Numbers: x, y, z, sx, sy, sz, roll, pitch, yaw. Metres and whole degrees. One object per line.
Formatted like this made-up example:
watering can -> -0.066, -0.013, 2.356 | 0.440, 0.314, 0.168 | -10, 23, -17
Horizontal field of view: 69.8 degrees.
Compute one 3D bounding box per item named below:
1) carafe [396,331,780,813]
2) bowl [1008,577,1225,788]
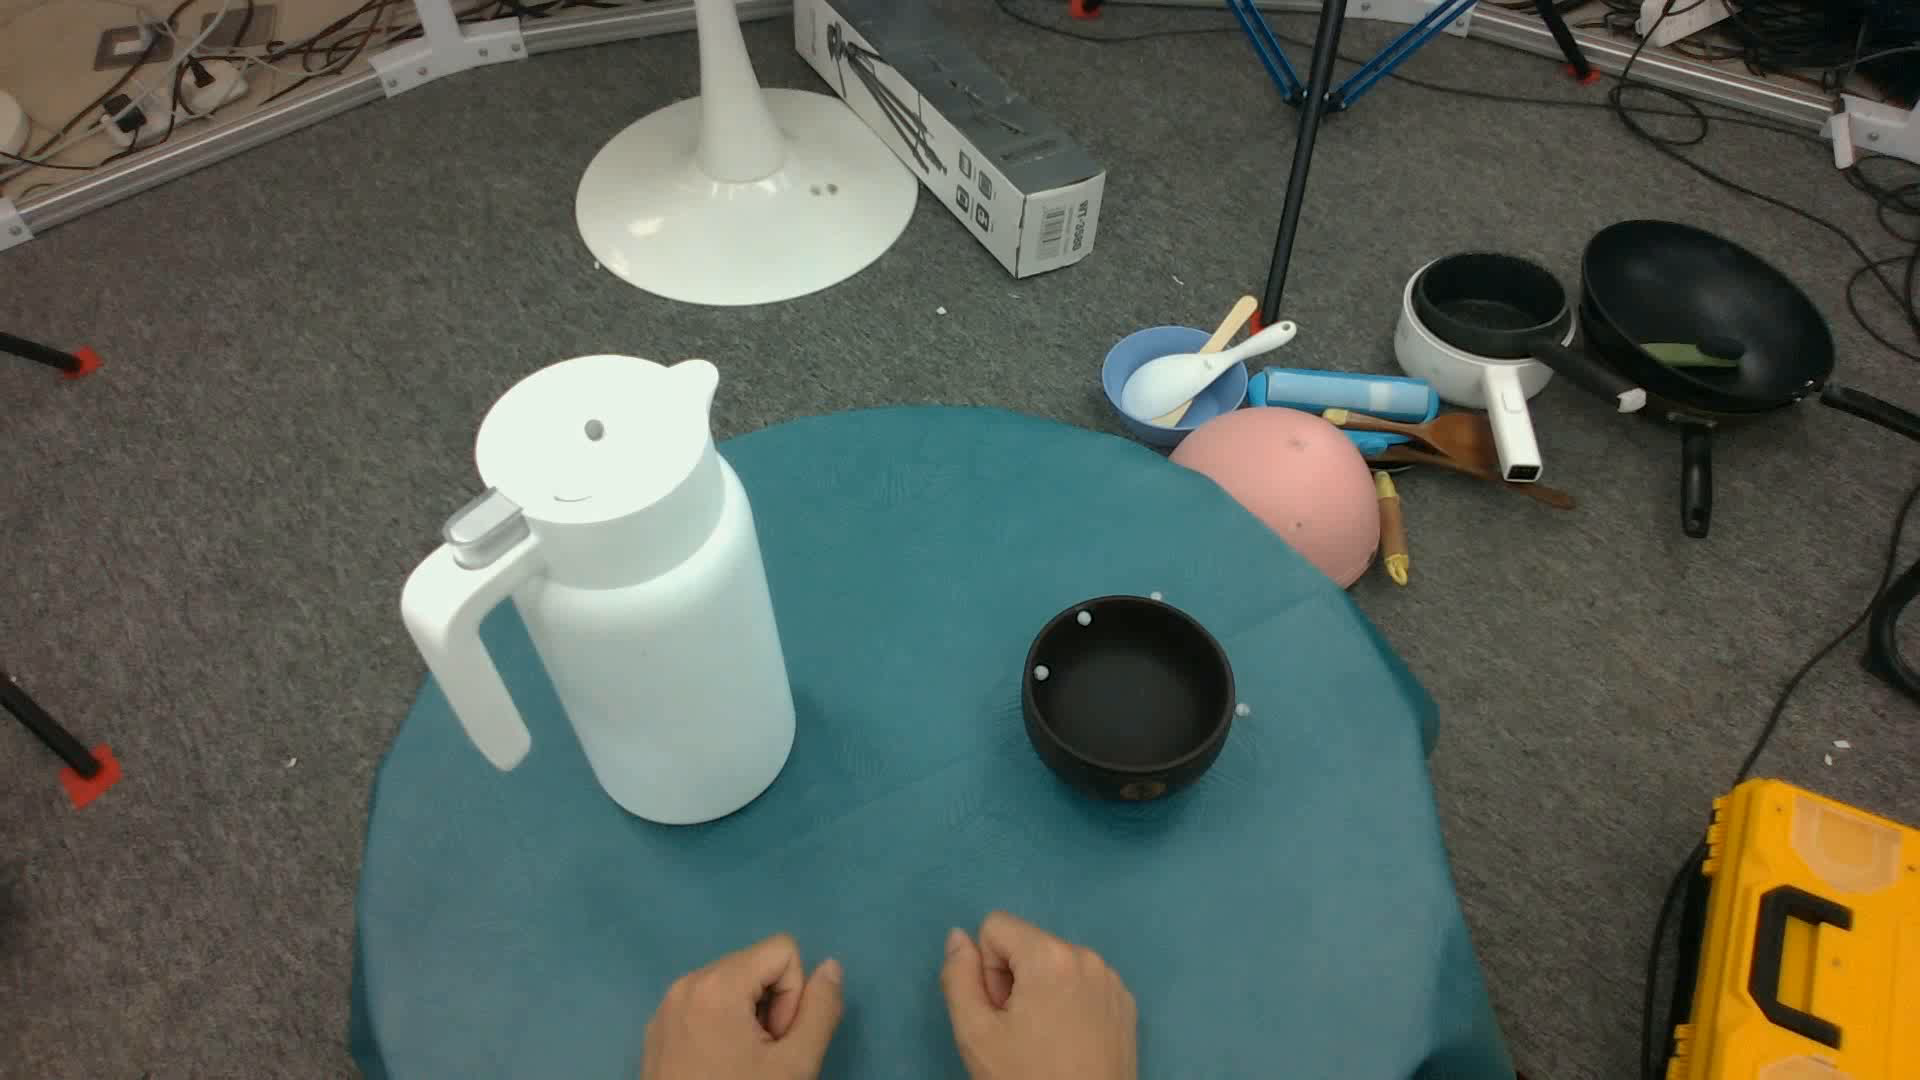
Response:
carafe -> -0.172, 0.039, 0.687 | 0.124, 0.267, 0.173 | 32, 59, 20
bowl -> 0.085, 0.086, 0.771 | 0.118, 0.069, 0.118 | 0, 52, 0
